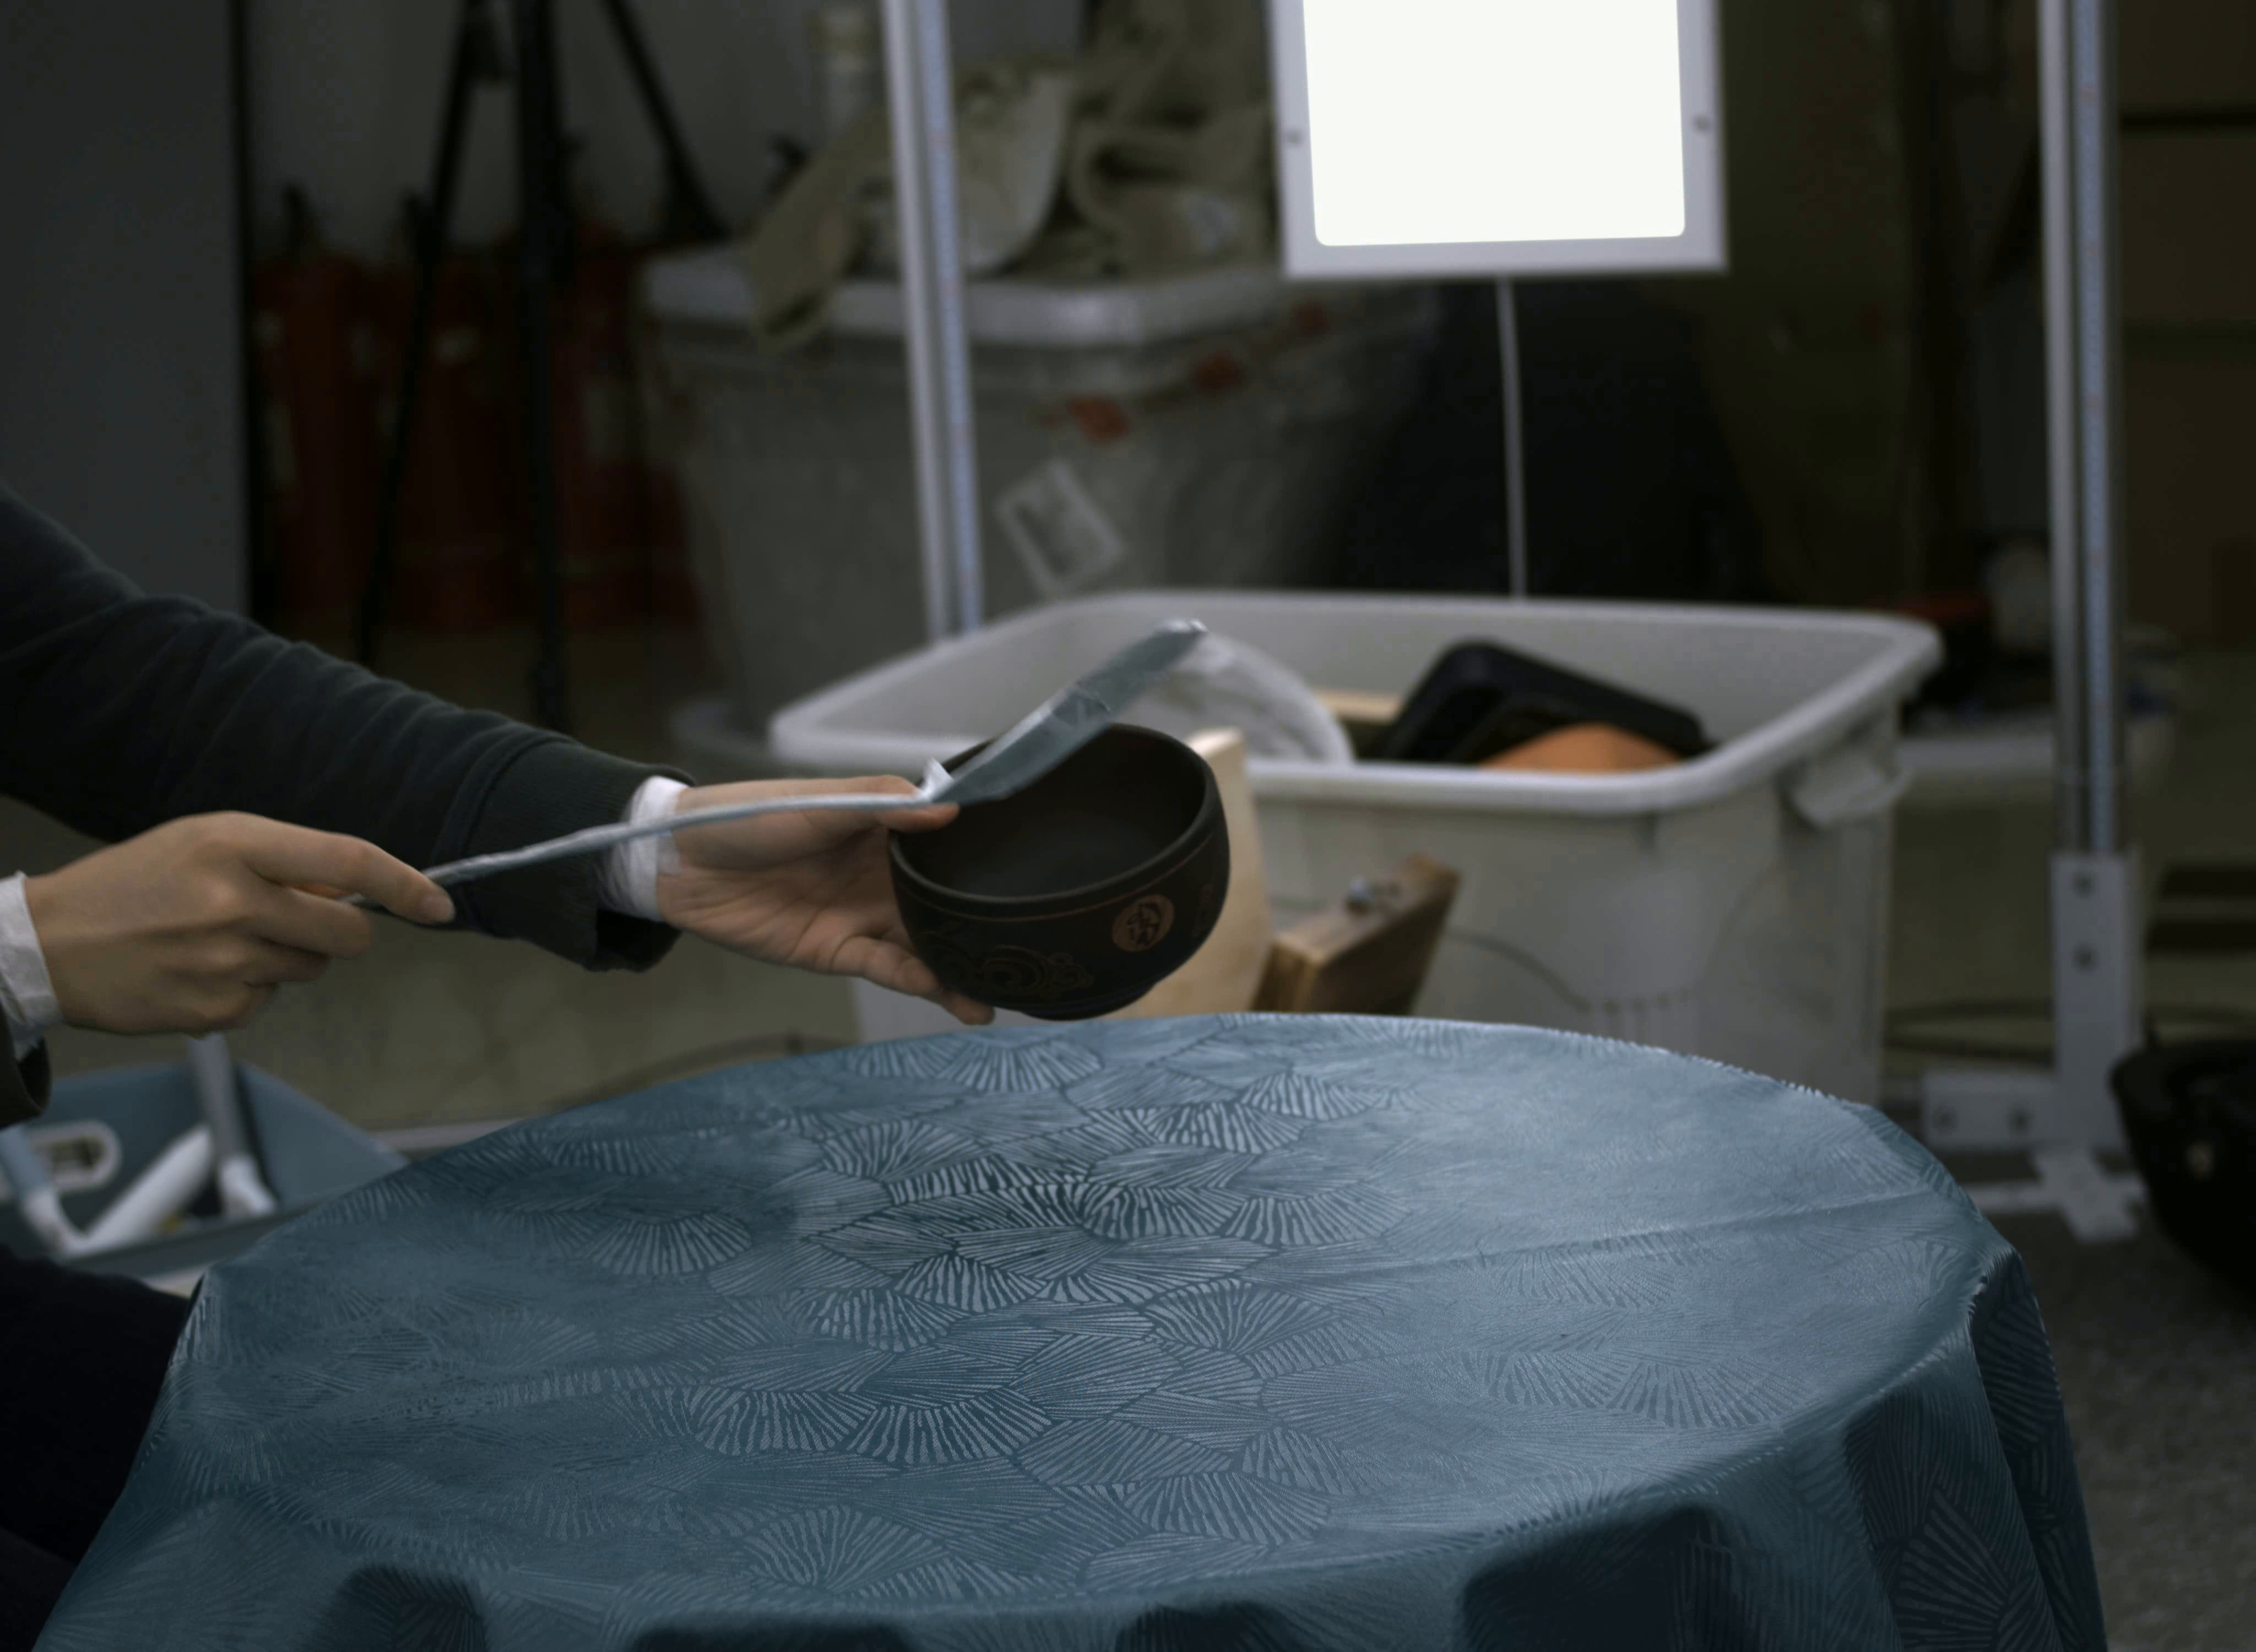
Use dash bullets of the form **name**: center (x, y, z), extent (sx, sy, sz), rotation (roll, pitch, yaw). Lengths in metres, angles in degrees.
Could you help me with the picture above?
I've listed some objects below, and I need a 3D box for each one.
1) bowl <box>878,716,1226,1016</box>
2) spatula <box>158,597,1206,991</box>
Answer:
- **bowl**: center (-0.023, 0.021, 1.880), extent (0.118, 0.070, 0.118), rotation (-10, 30, 4)
- **spatula**: center (-0.147, -0.008, 1.733), extent (0.368, 0.045, 0.097), rotation (-13, 2, 13)
